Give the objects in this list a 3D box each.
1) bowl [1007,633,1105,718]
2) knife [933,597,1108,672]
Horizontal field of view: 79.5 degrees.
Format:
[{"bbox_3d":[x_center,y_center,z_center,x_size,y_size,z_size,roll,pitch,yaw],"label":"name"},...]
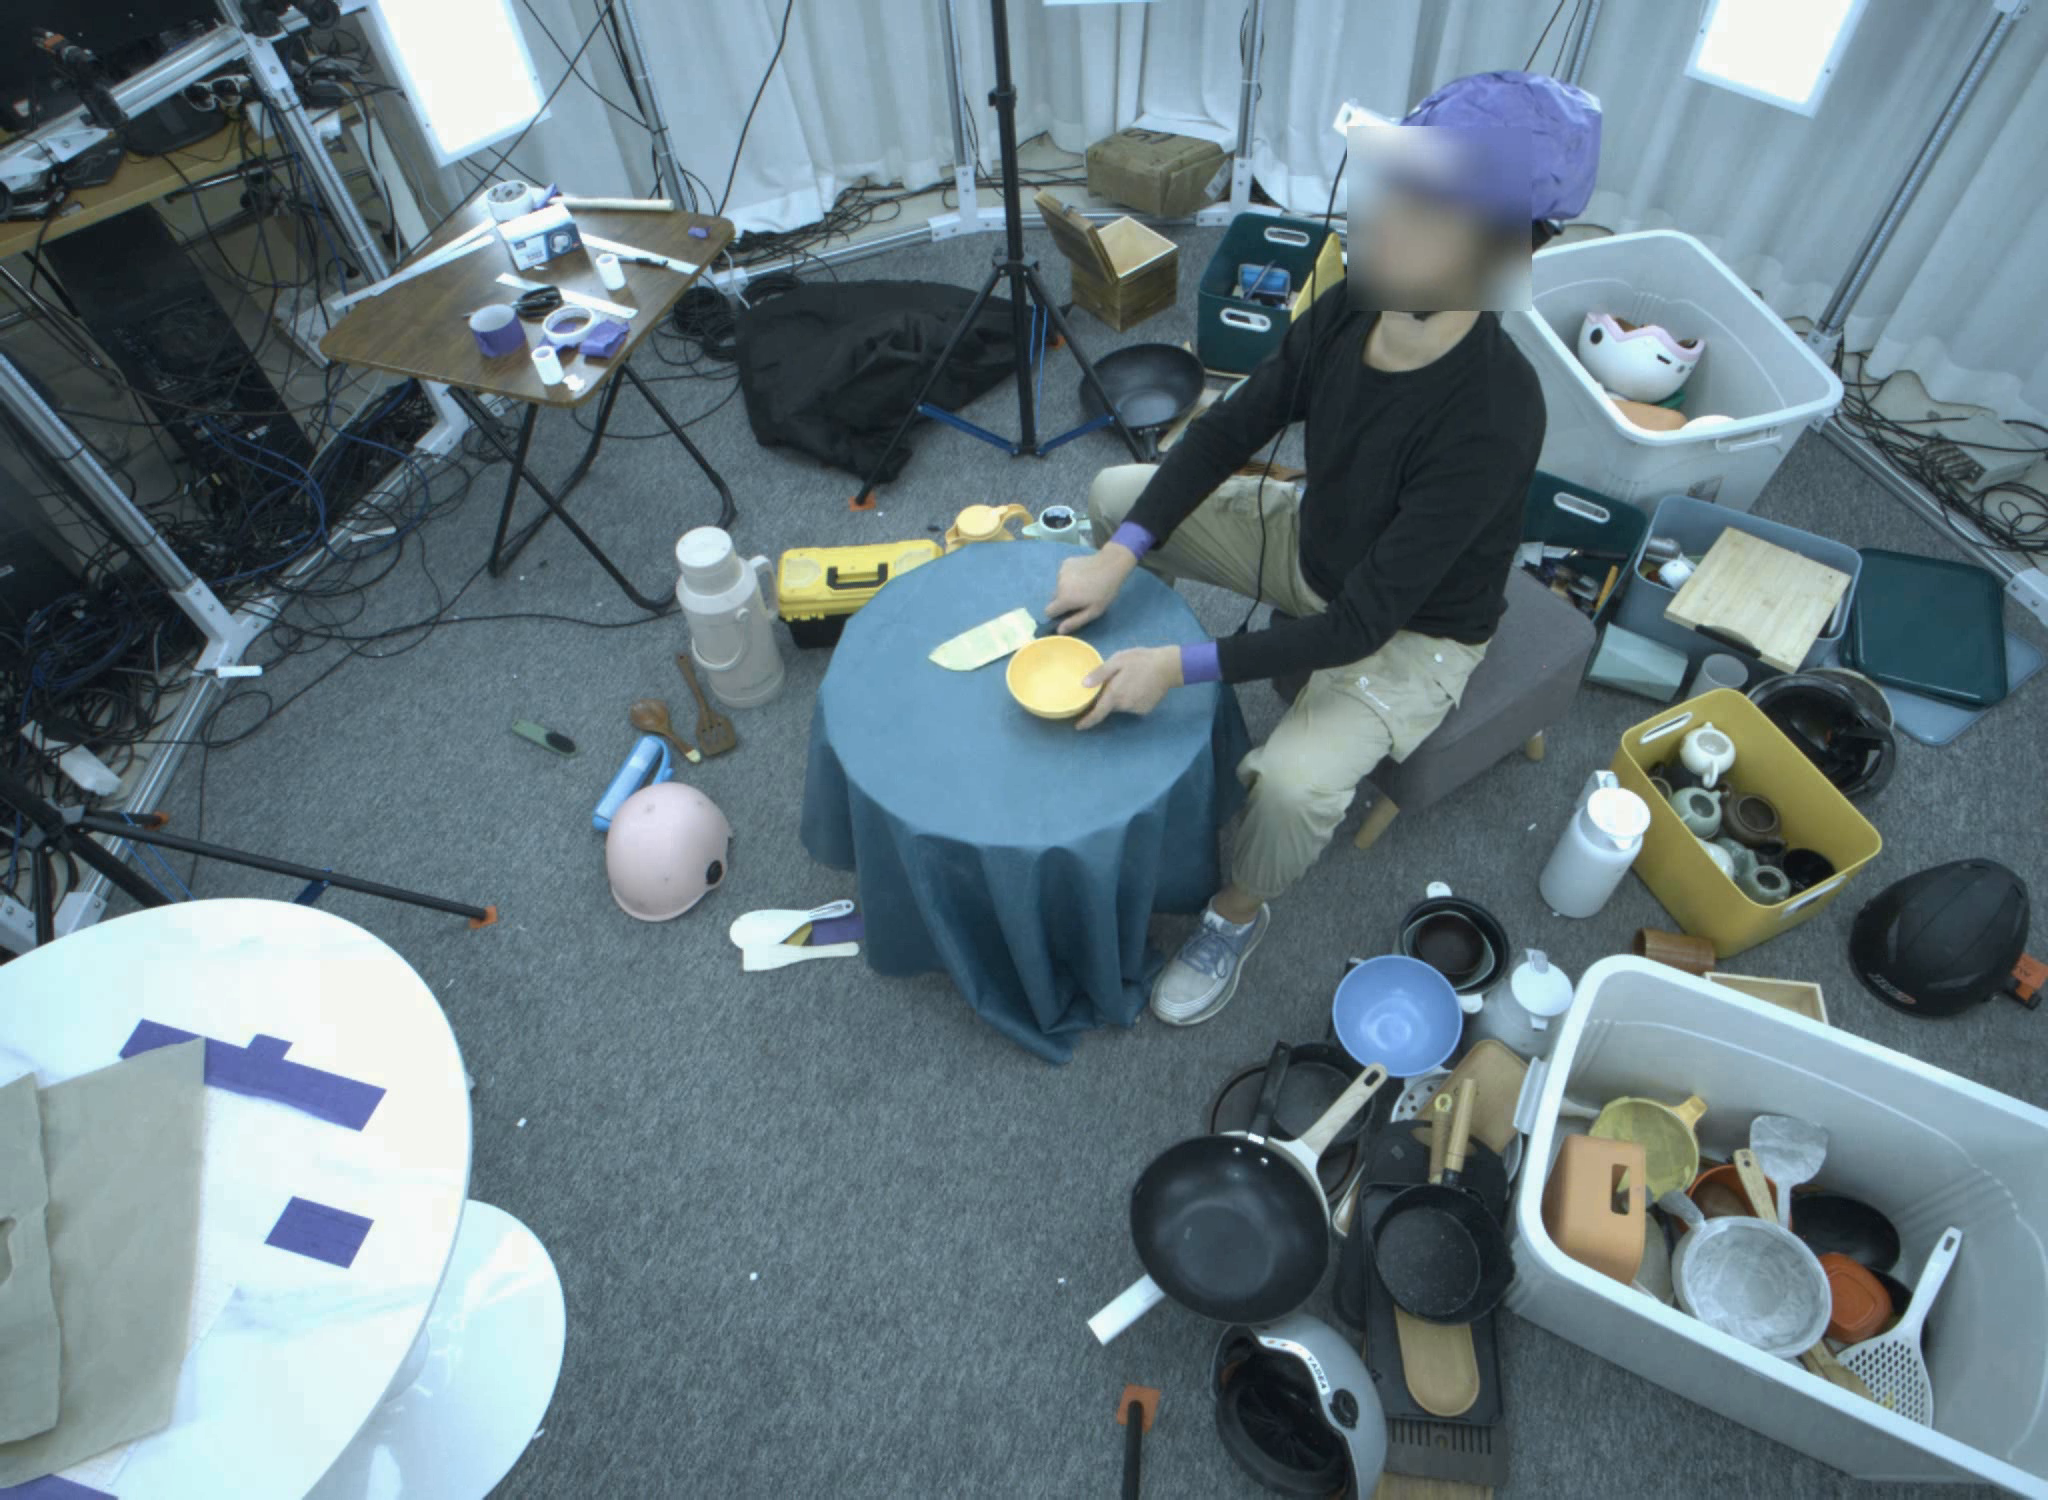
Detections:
[{"bbox_3d":[0.048,-0.099,1.816,0.145,0.061,0.144,-1,57,2],"label":"bowl"},{"bbox_3d":[-0.007,-0.187,1.909,0.291,0.027,0.079,-21,60,-11],"label":"knife"}]
